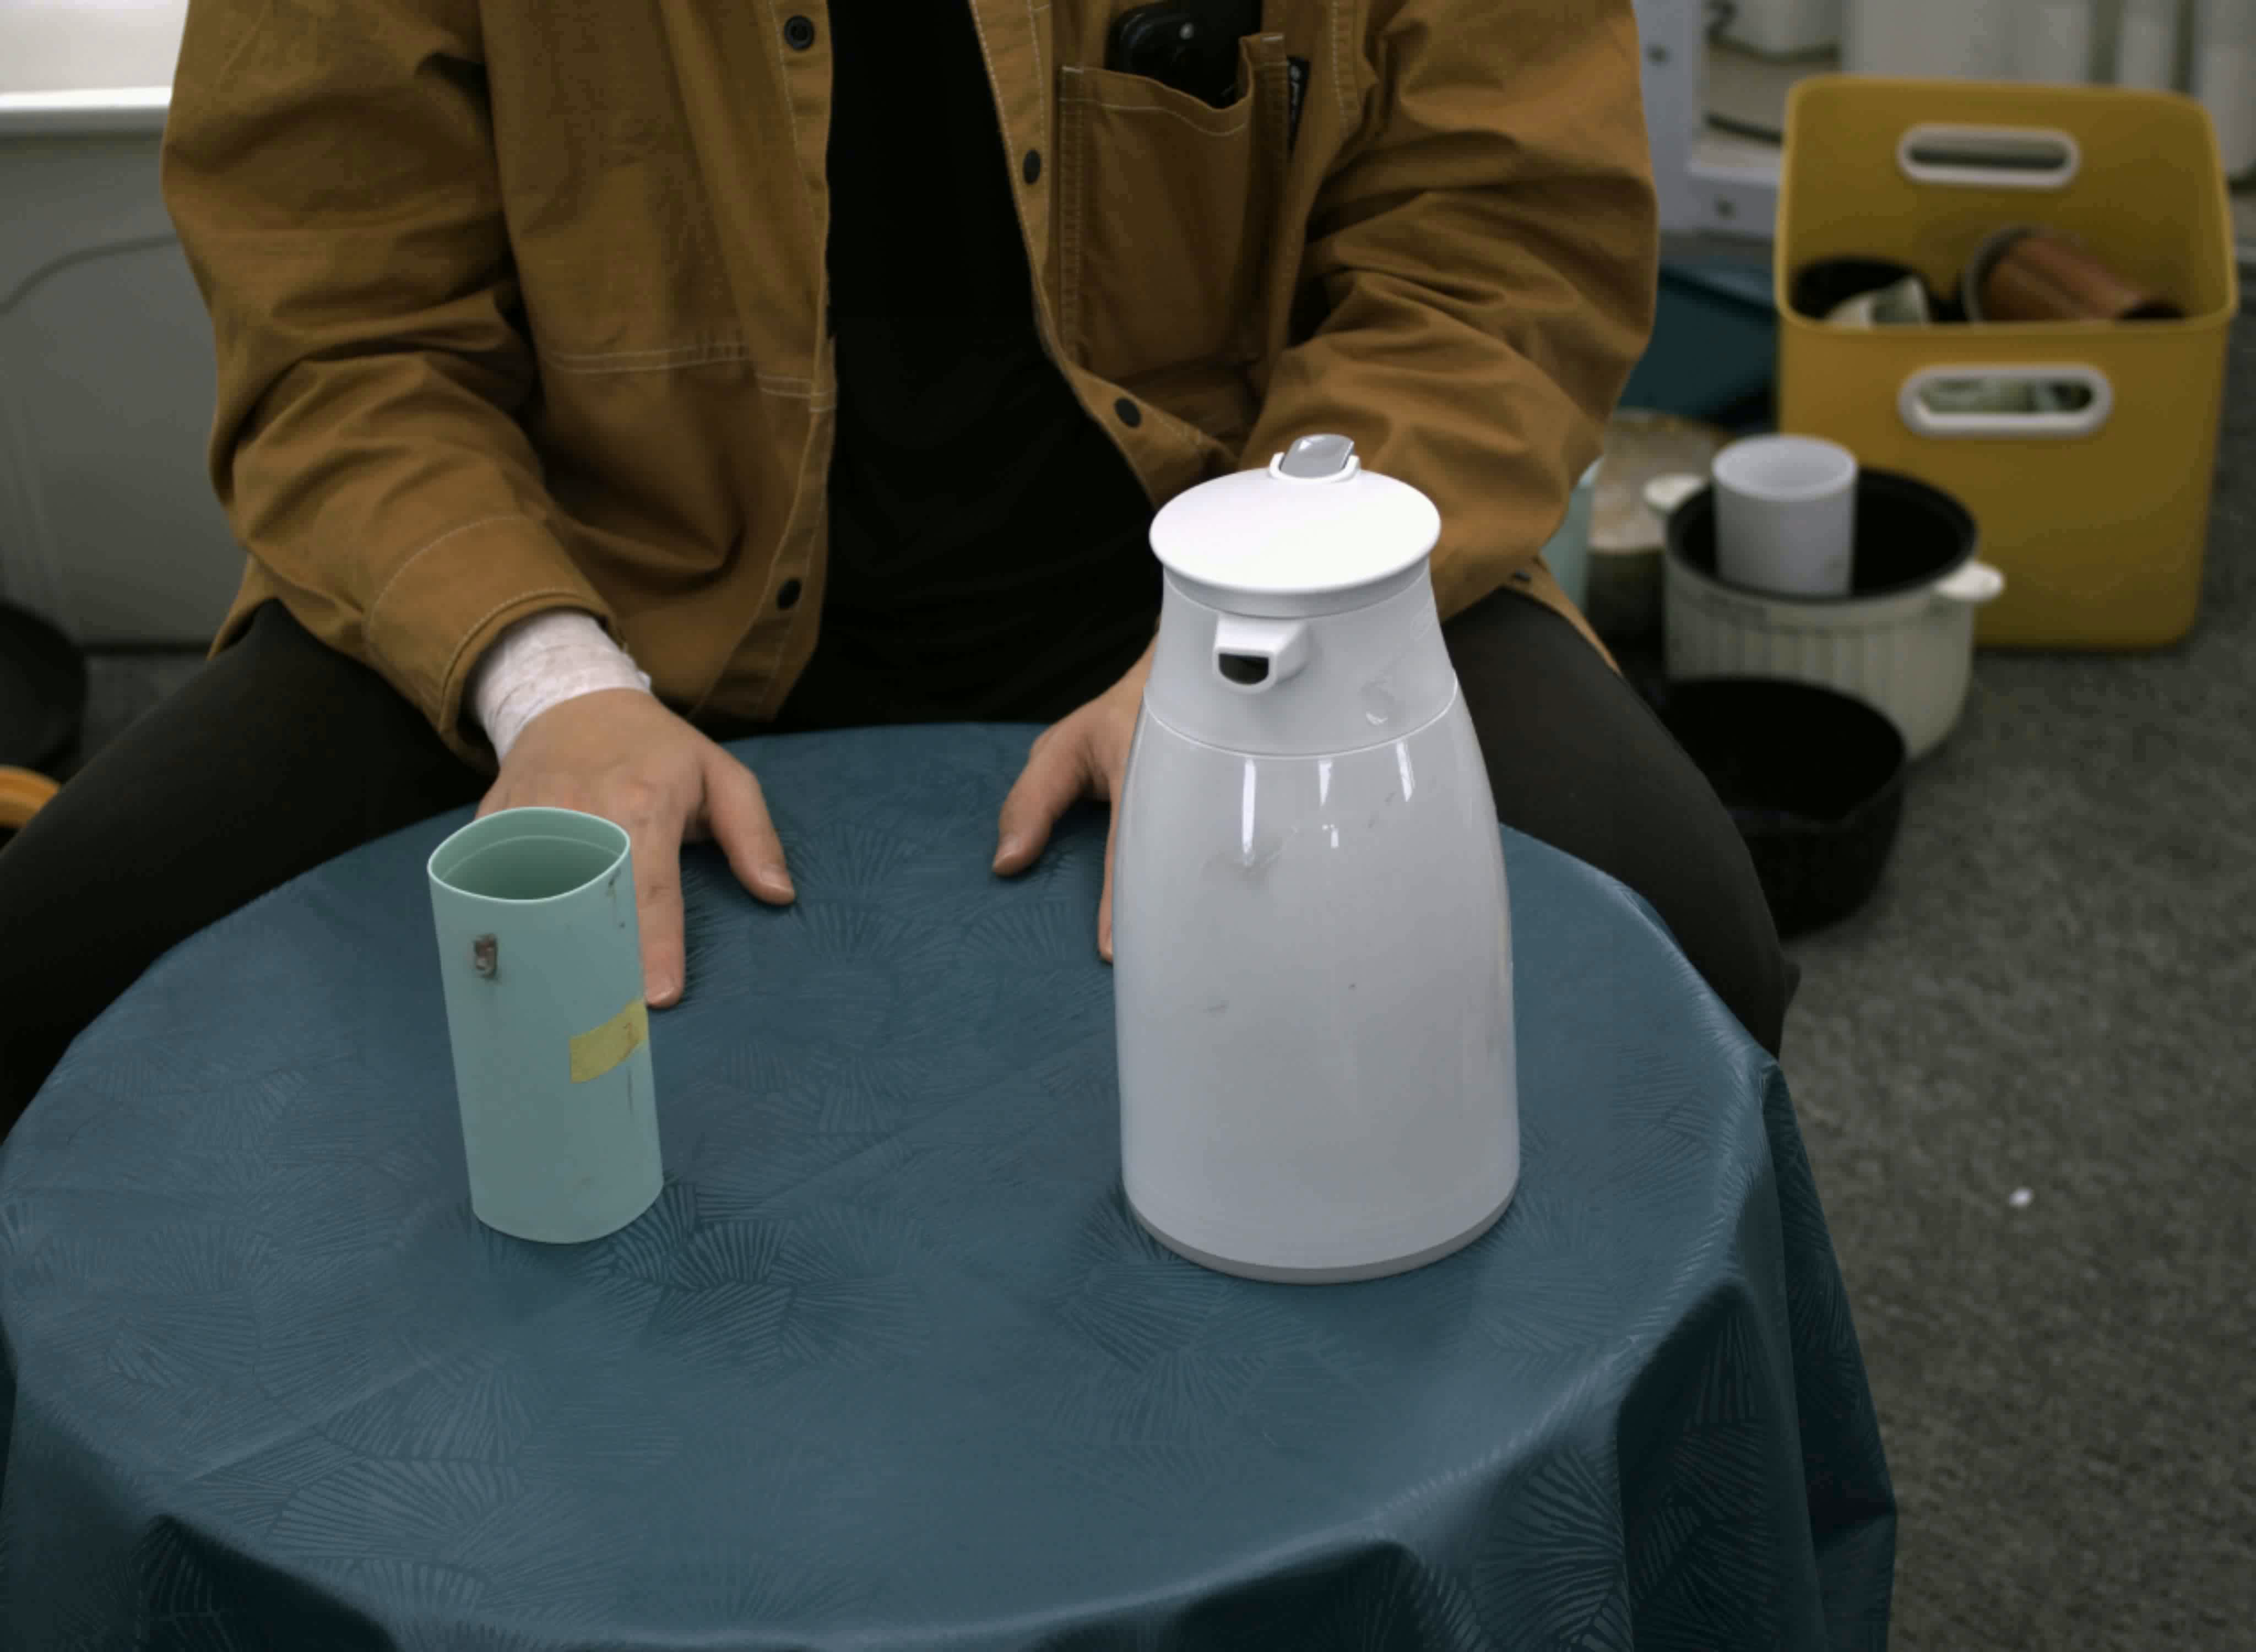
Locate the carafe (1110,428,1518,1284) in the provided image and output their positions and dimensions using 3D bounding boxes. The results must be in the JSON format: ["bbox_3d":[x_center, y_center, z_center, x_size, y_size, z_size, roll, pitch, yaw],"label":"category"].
[{"bbox_3d":[0.061,-0.001,1.824,0.131,0.246,0.170,4,27,15],"label":"carafe"}]

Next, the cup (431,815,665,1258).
[{"bbox_3d":[-0.191,0.069,1.846,0.066,0.131,0.068,-2,26,1],"label":"cup"}]
